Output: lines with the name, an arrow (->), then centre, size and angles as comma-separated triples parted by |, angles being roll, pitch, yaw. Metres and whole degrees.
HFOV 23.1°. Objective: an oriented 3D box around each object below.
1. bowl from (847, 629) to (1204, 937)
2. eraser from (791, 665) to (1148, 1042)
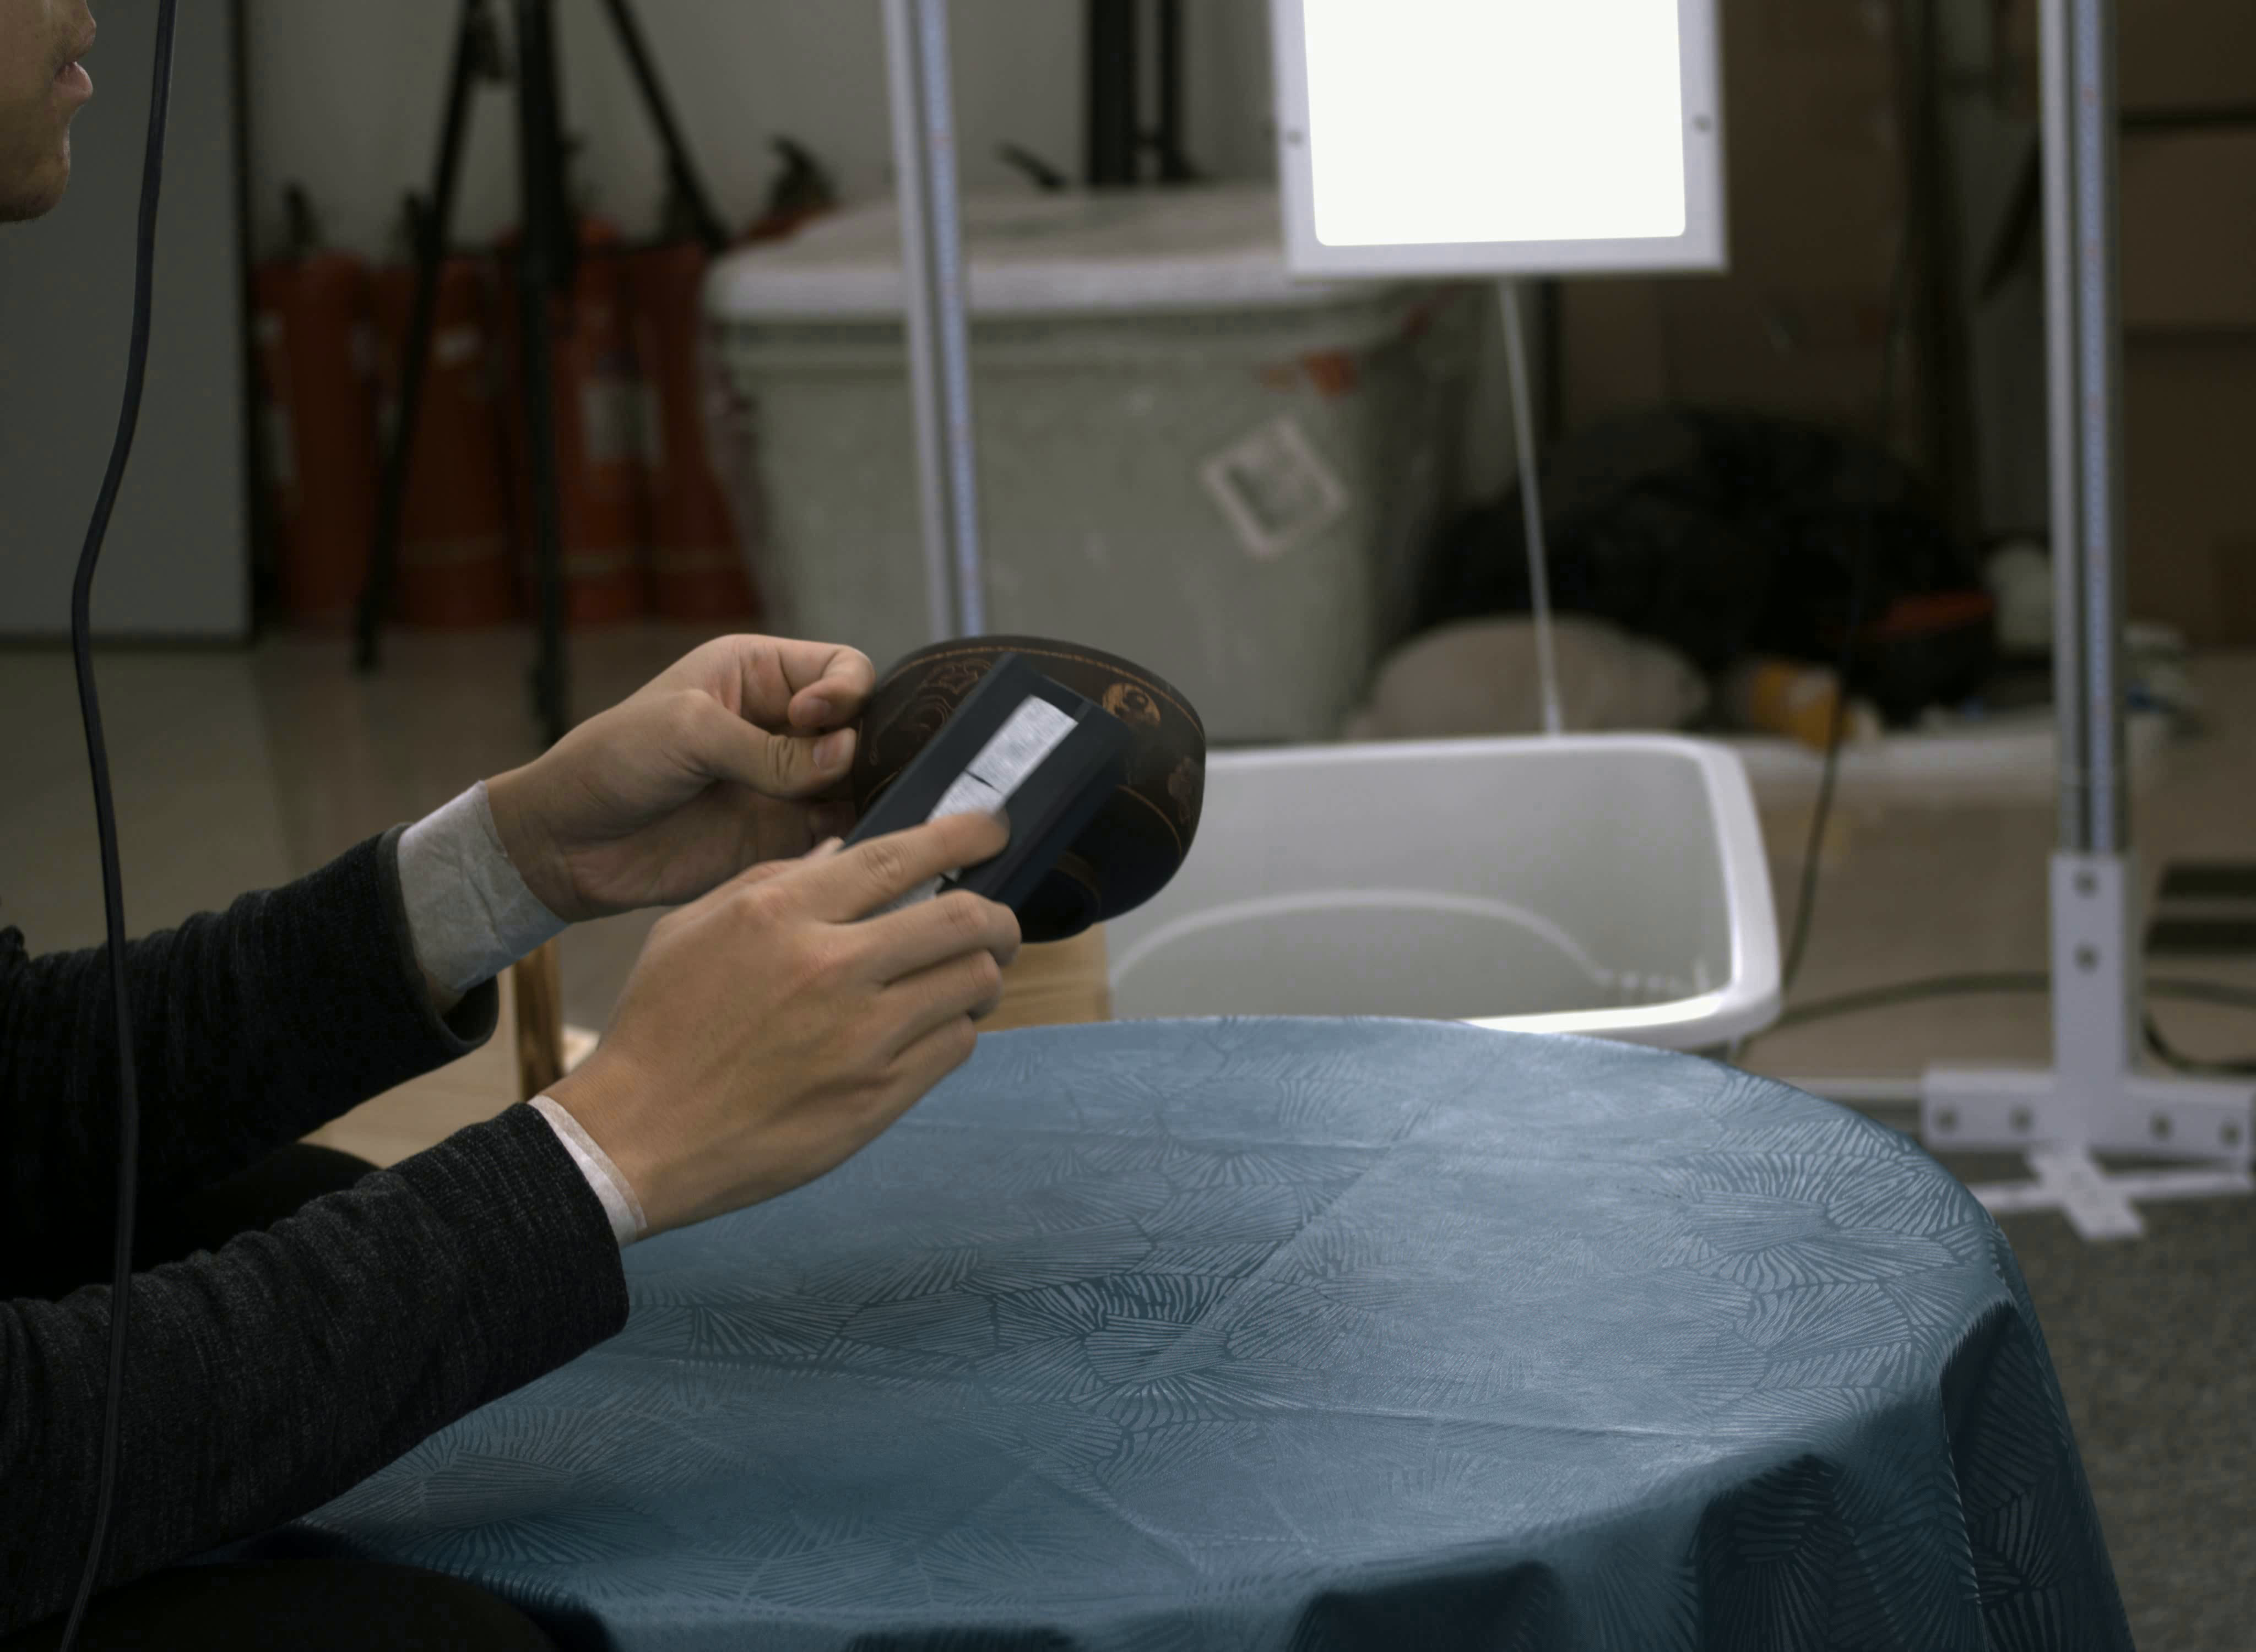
bowl -> -0.036, -0.007, 1.815 | 0.118, 0.069, 0.118 | 7, -27, 2
eraser -> -0.049, 0.007, 1.724 | 0.054, 0.030, 0.124 | 29, 62, 19
